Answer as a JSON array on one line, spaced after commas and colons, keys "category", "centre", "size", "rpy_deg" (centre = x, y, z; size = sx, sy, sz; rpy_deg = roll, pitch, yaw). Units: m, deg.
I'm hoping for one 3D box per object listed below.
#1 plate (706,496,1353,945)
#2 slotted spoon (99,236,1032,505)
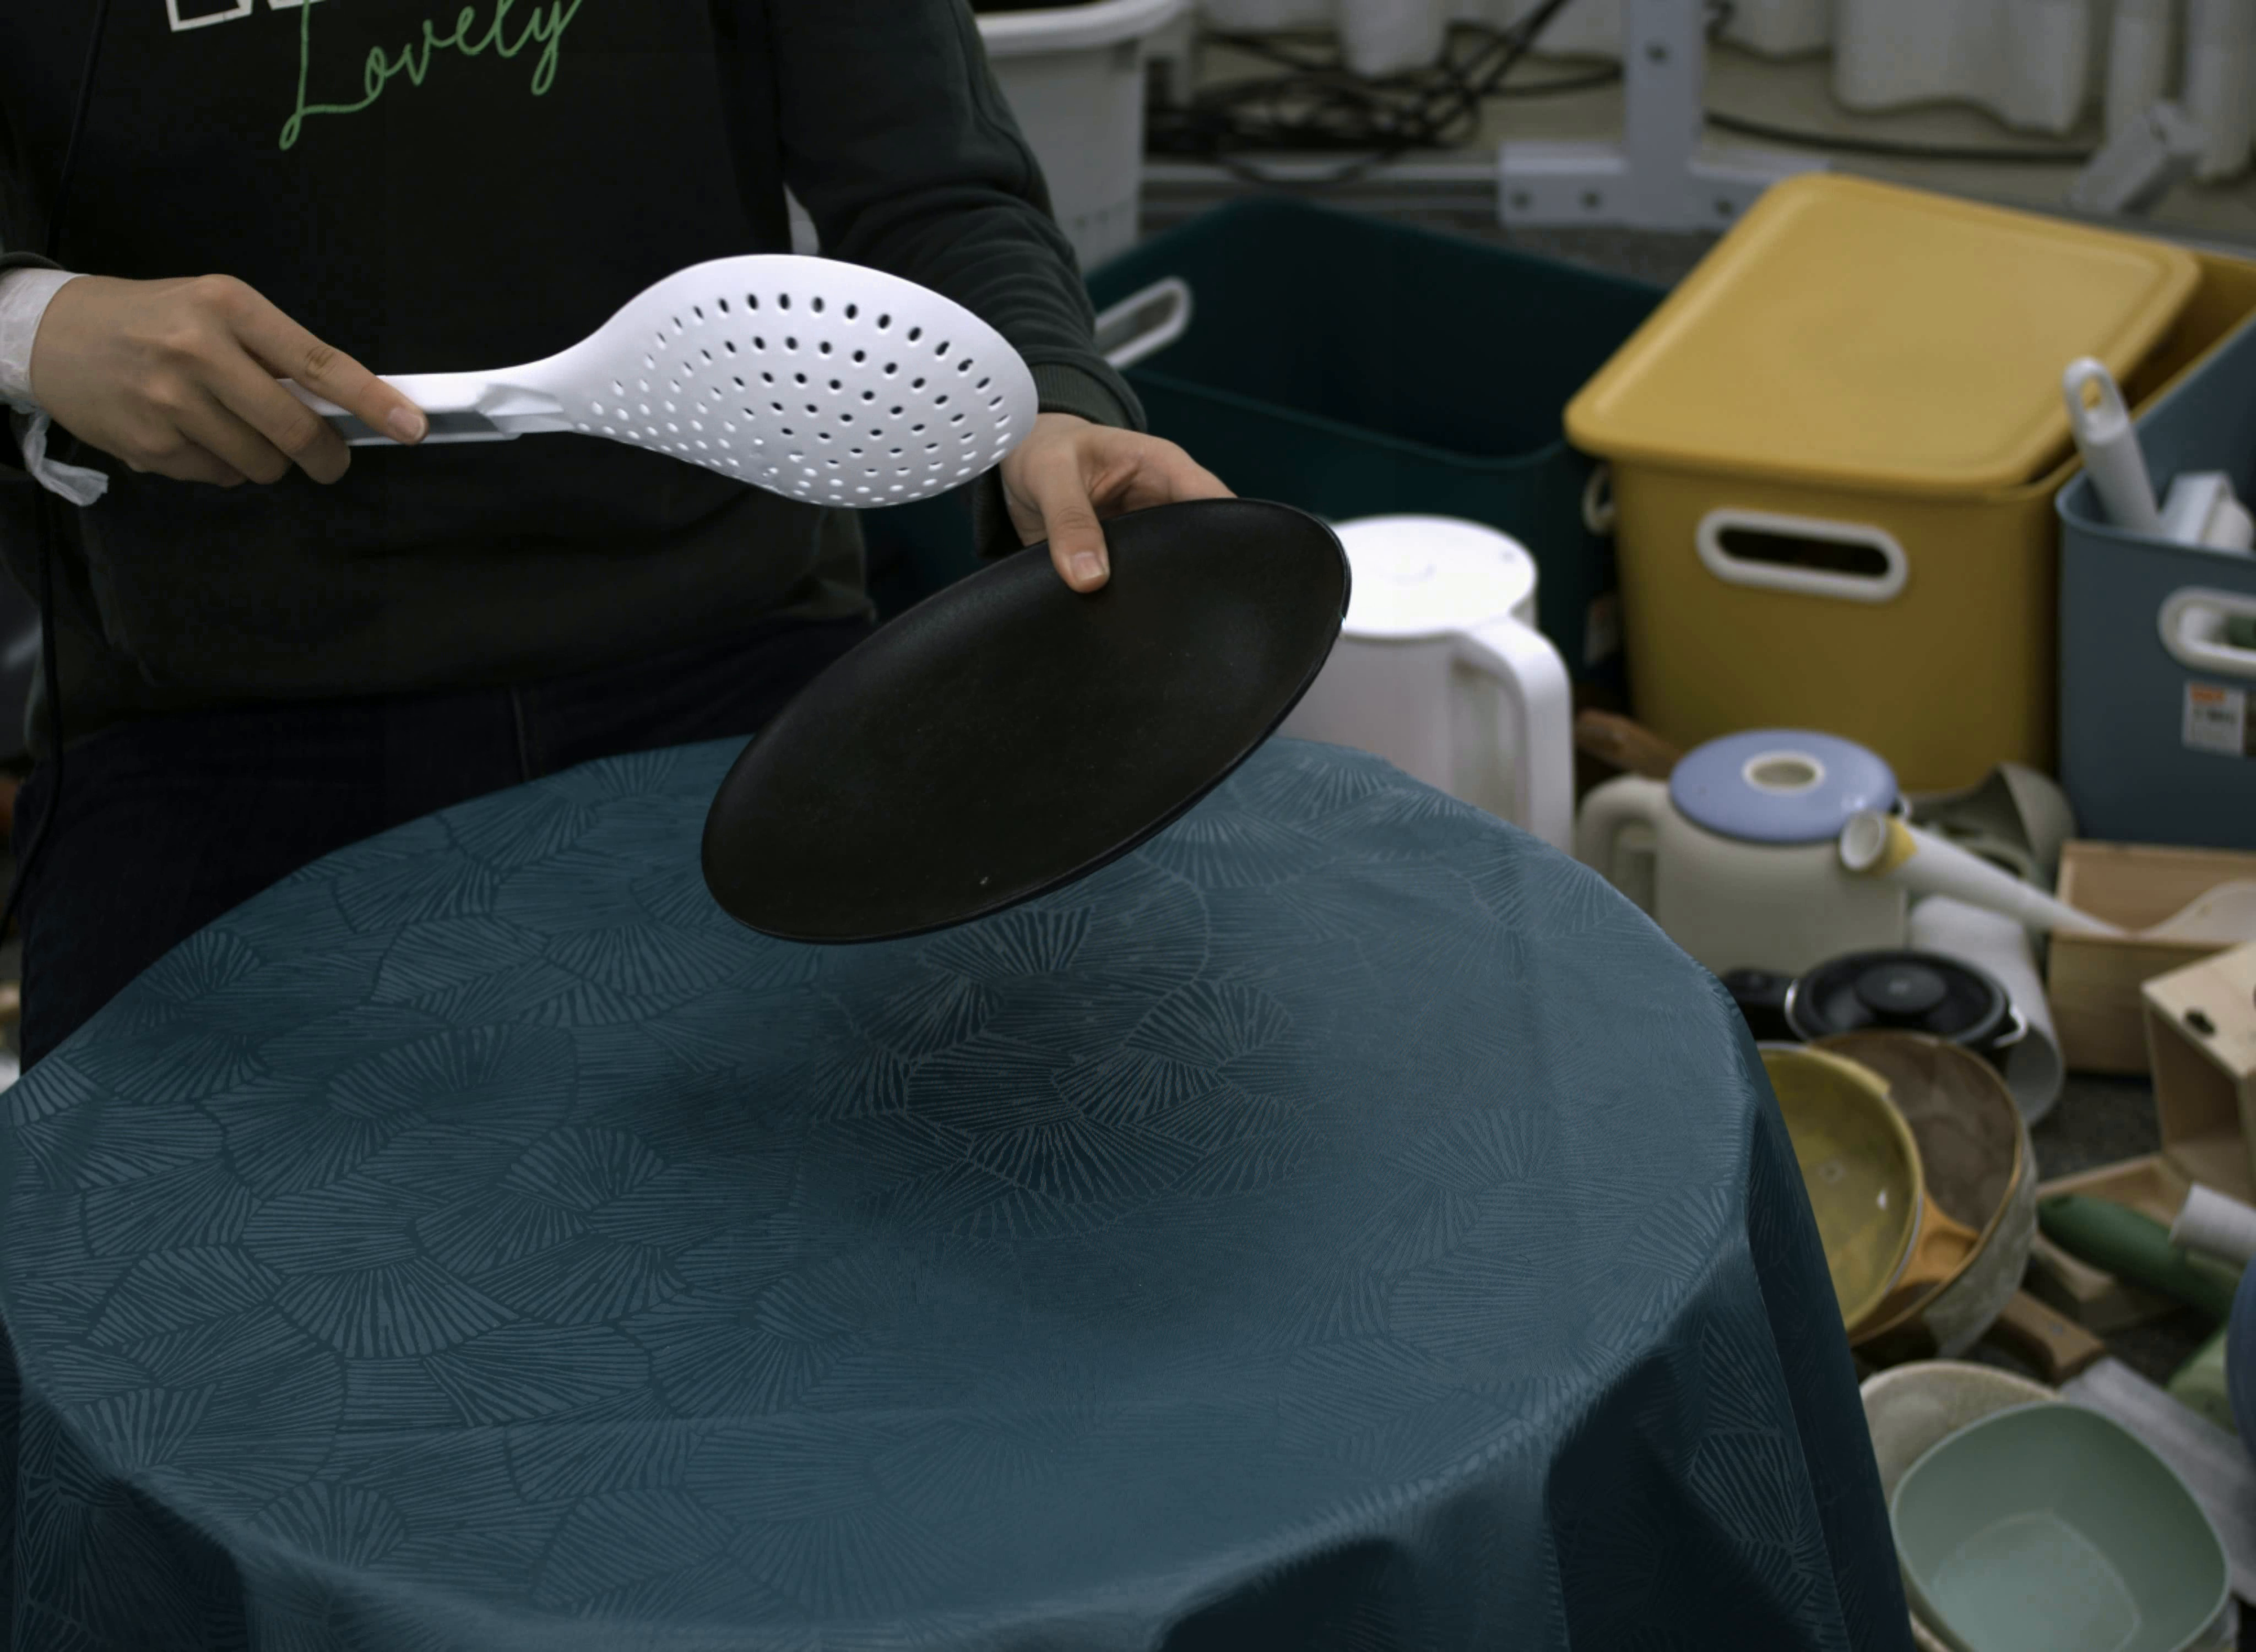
[{"category": "plate", "centre": [-0.031, -0.031, 1.892], "size": [0.242, 0.023, 0.248], "rpy_deg": [-22, 27, 12]}, {"category": "slotted spoon", "centre": [-0.196, -0.144, 1.888], "size": [0.347, 0.134, 0.046], "rpy_deg": [3, 60, 27]}]
